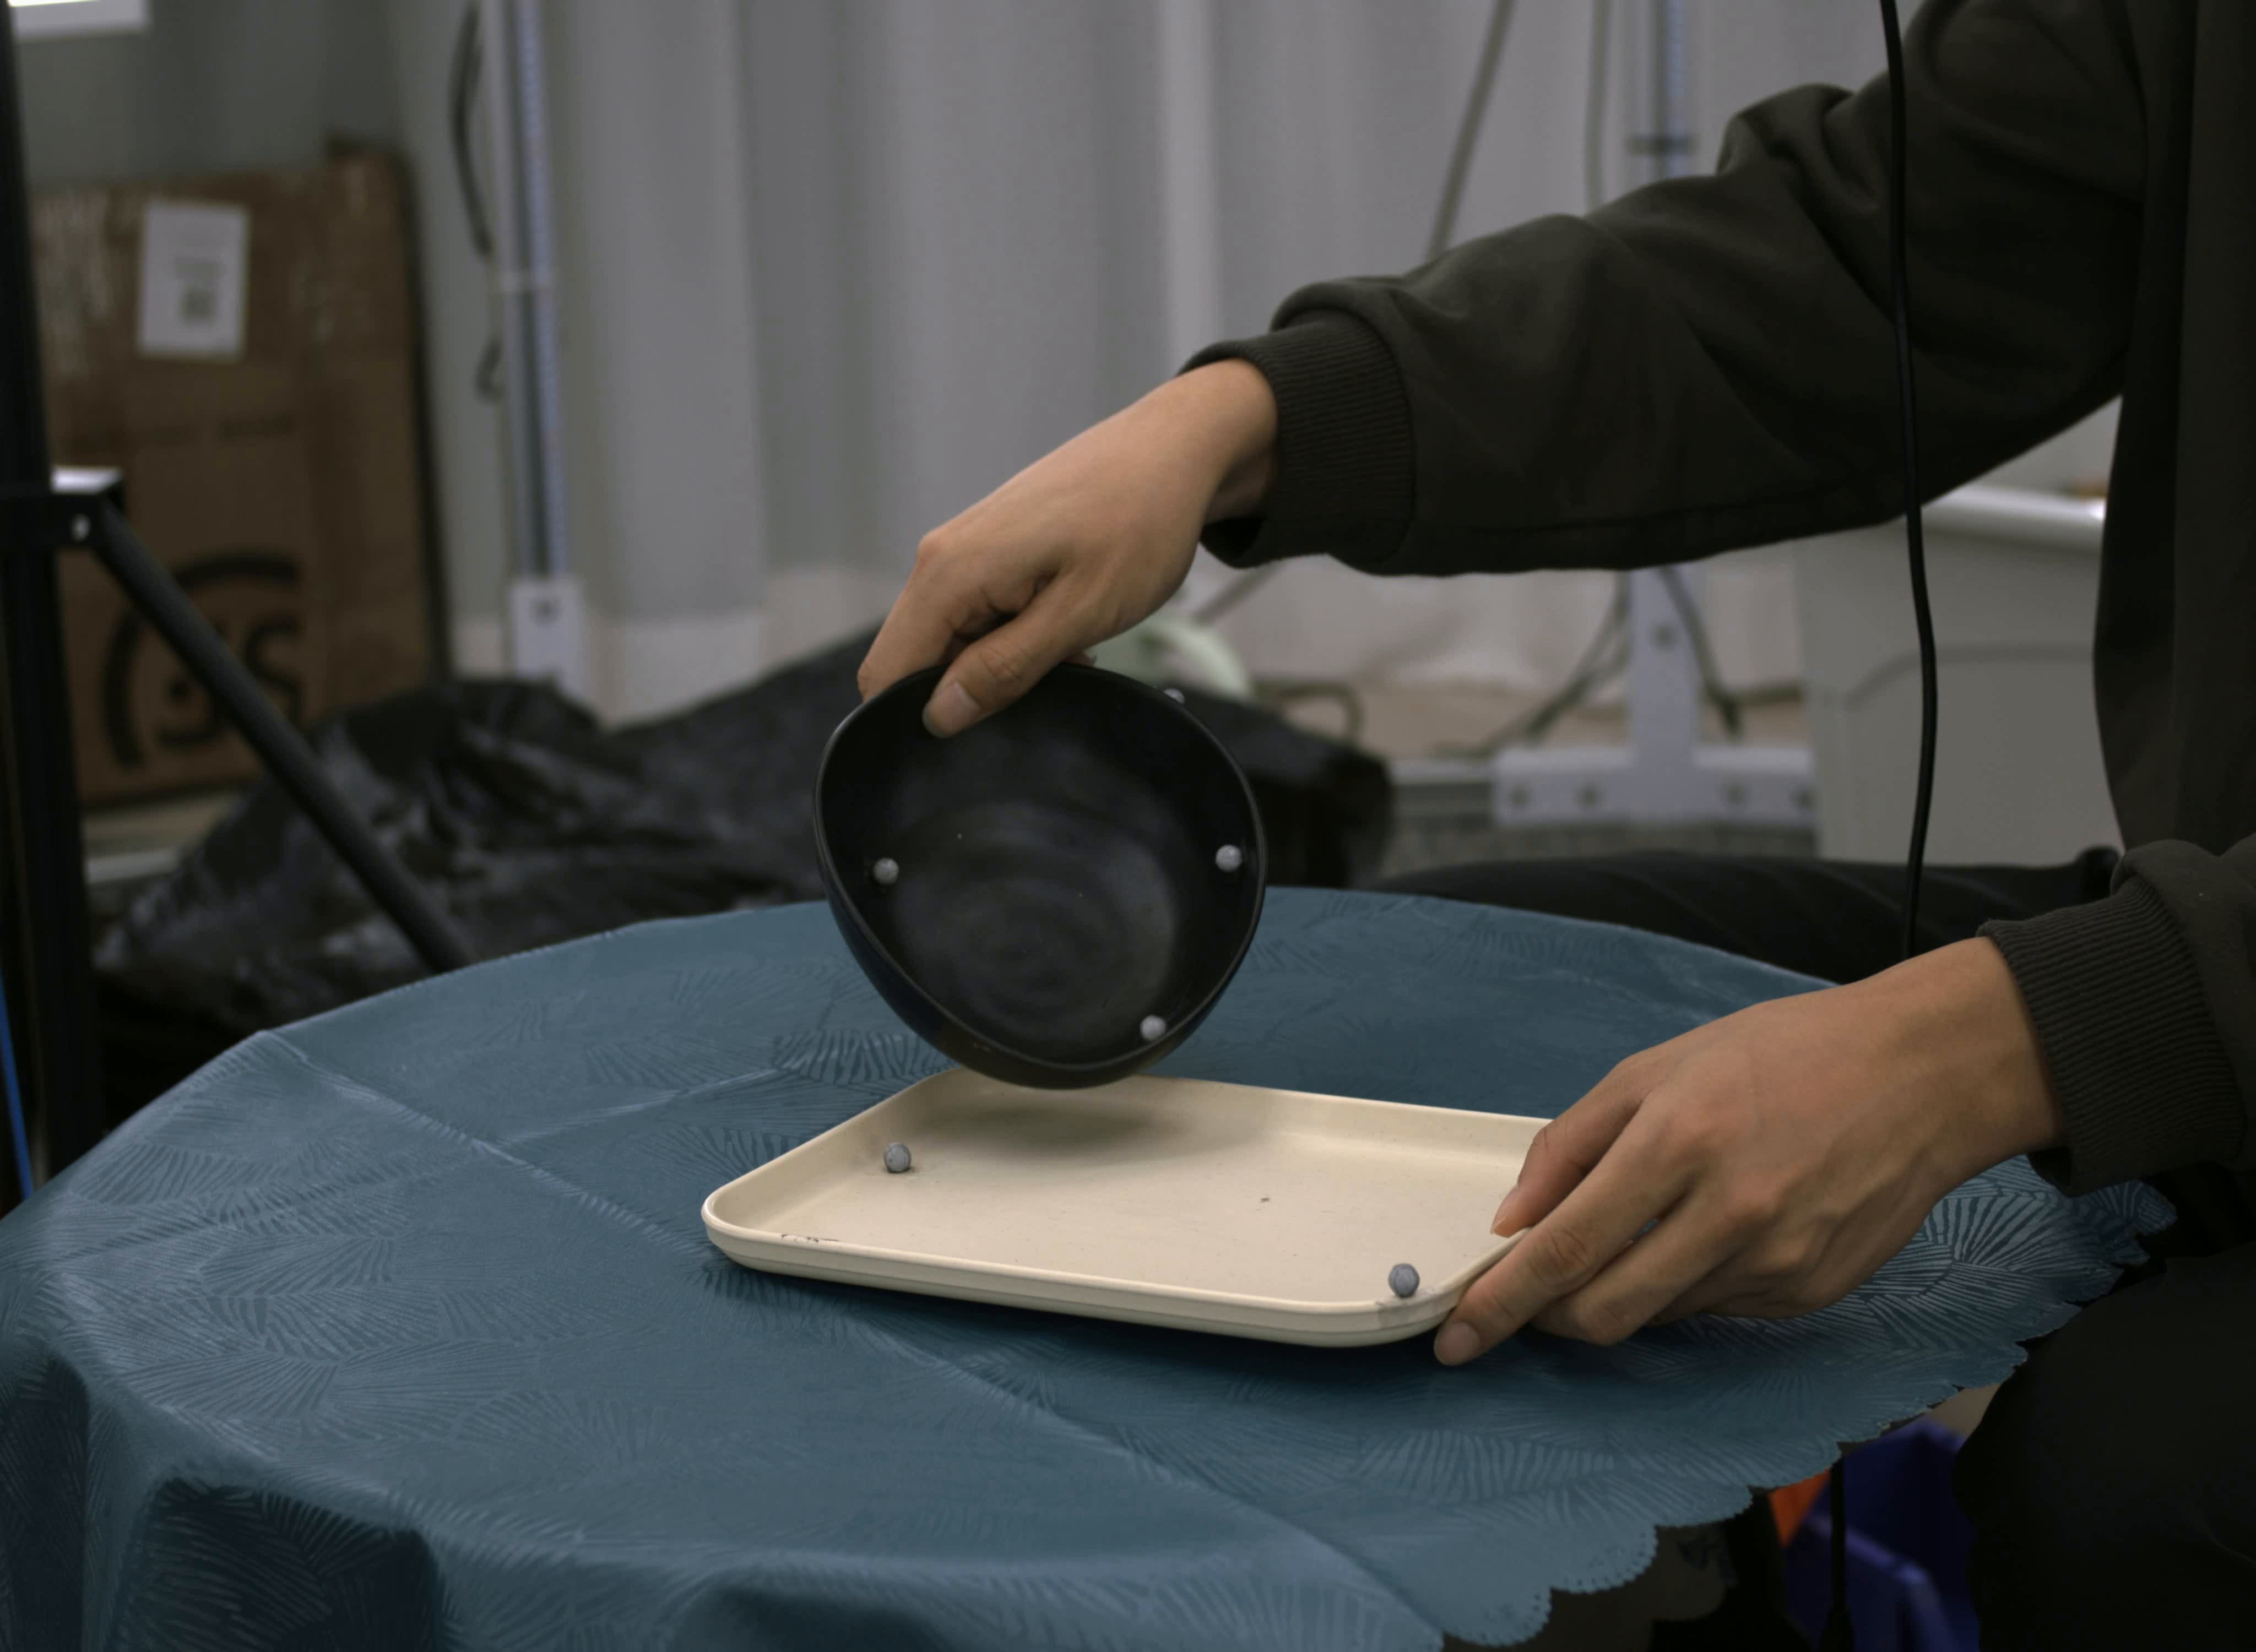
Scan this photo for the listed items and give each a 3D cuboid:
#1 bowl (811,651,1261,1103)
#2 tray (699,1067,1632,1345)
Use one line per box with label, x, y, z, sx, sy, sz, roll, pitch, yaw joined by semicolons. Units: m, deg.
bowl;-0.029;0.025;1.636;0.135;0.066;0.173;-8;49;-10
tray;0.011;0.108;1.513;0.244;0.017;0.168;5;16;32
